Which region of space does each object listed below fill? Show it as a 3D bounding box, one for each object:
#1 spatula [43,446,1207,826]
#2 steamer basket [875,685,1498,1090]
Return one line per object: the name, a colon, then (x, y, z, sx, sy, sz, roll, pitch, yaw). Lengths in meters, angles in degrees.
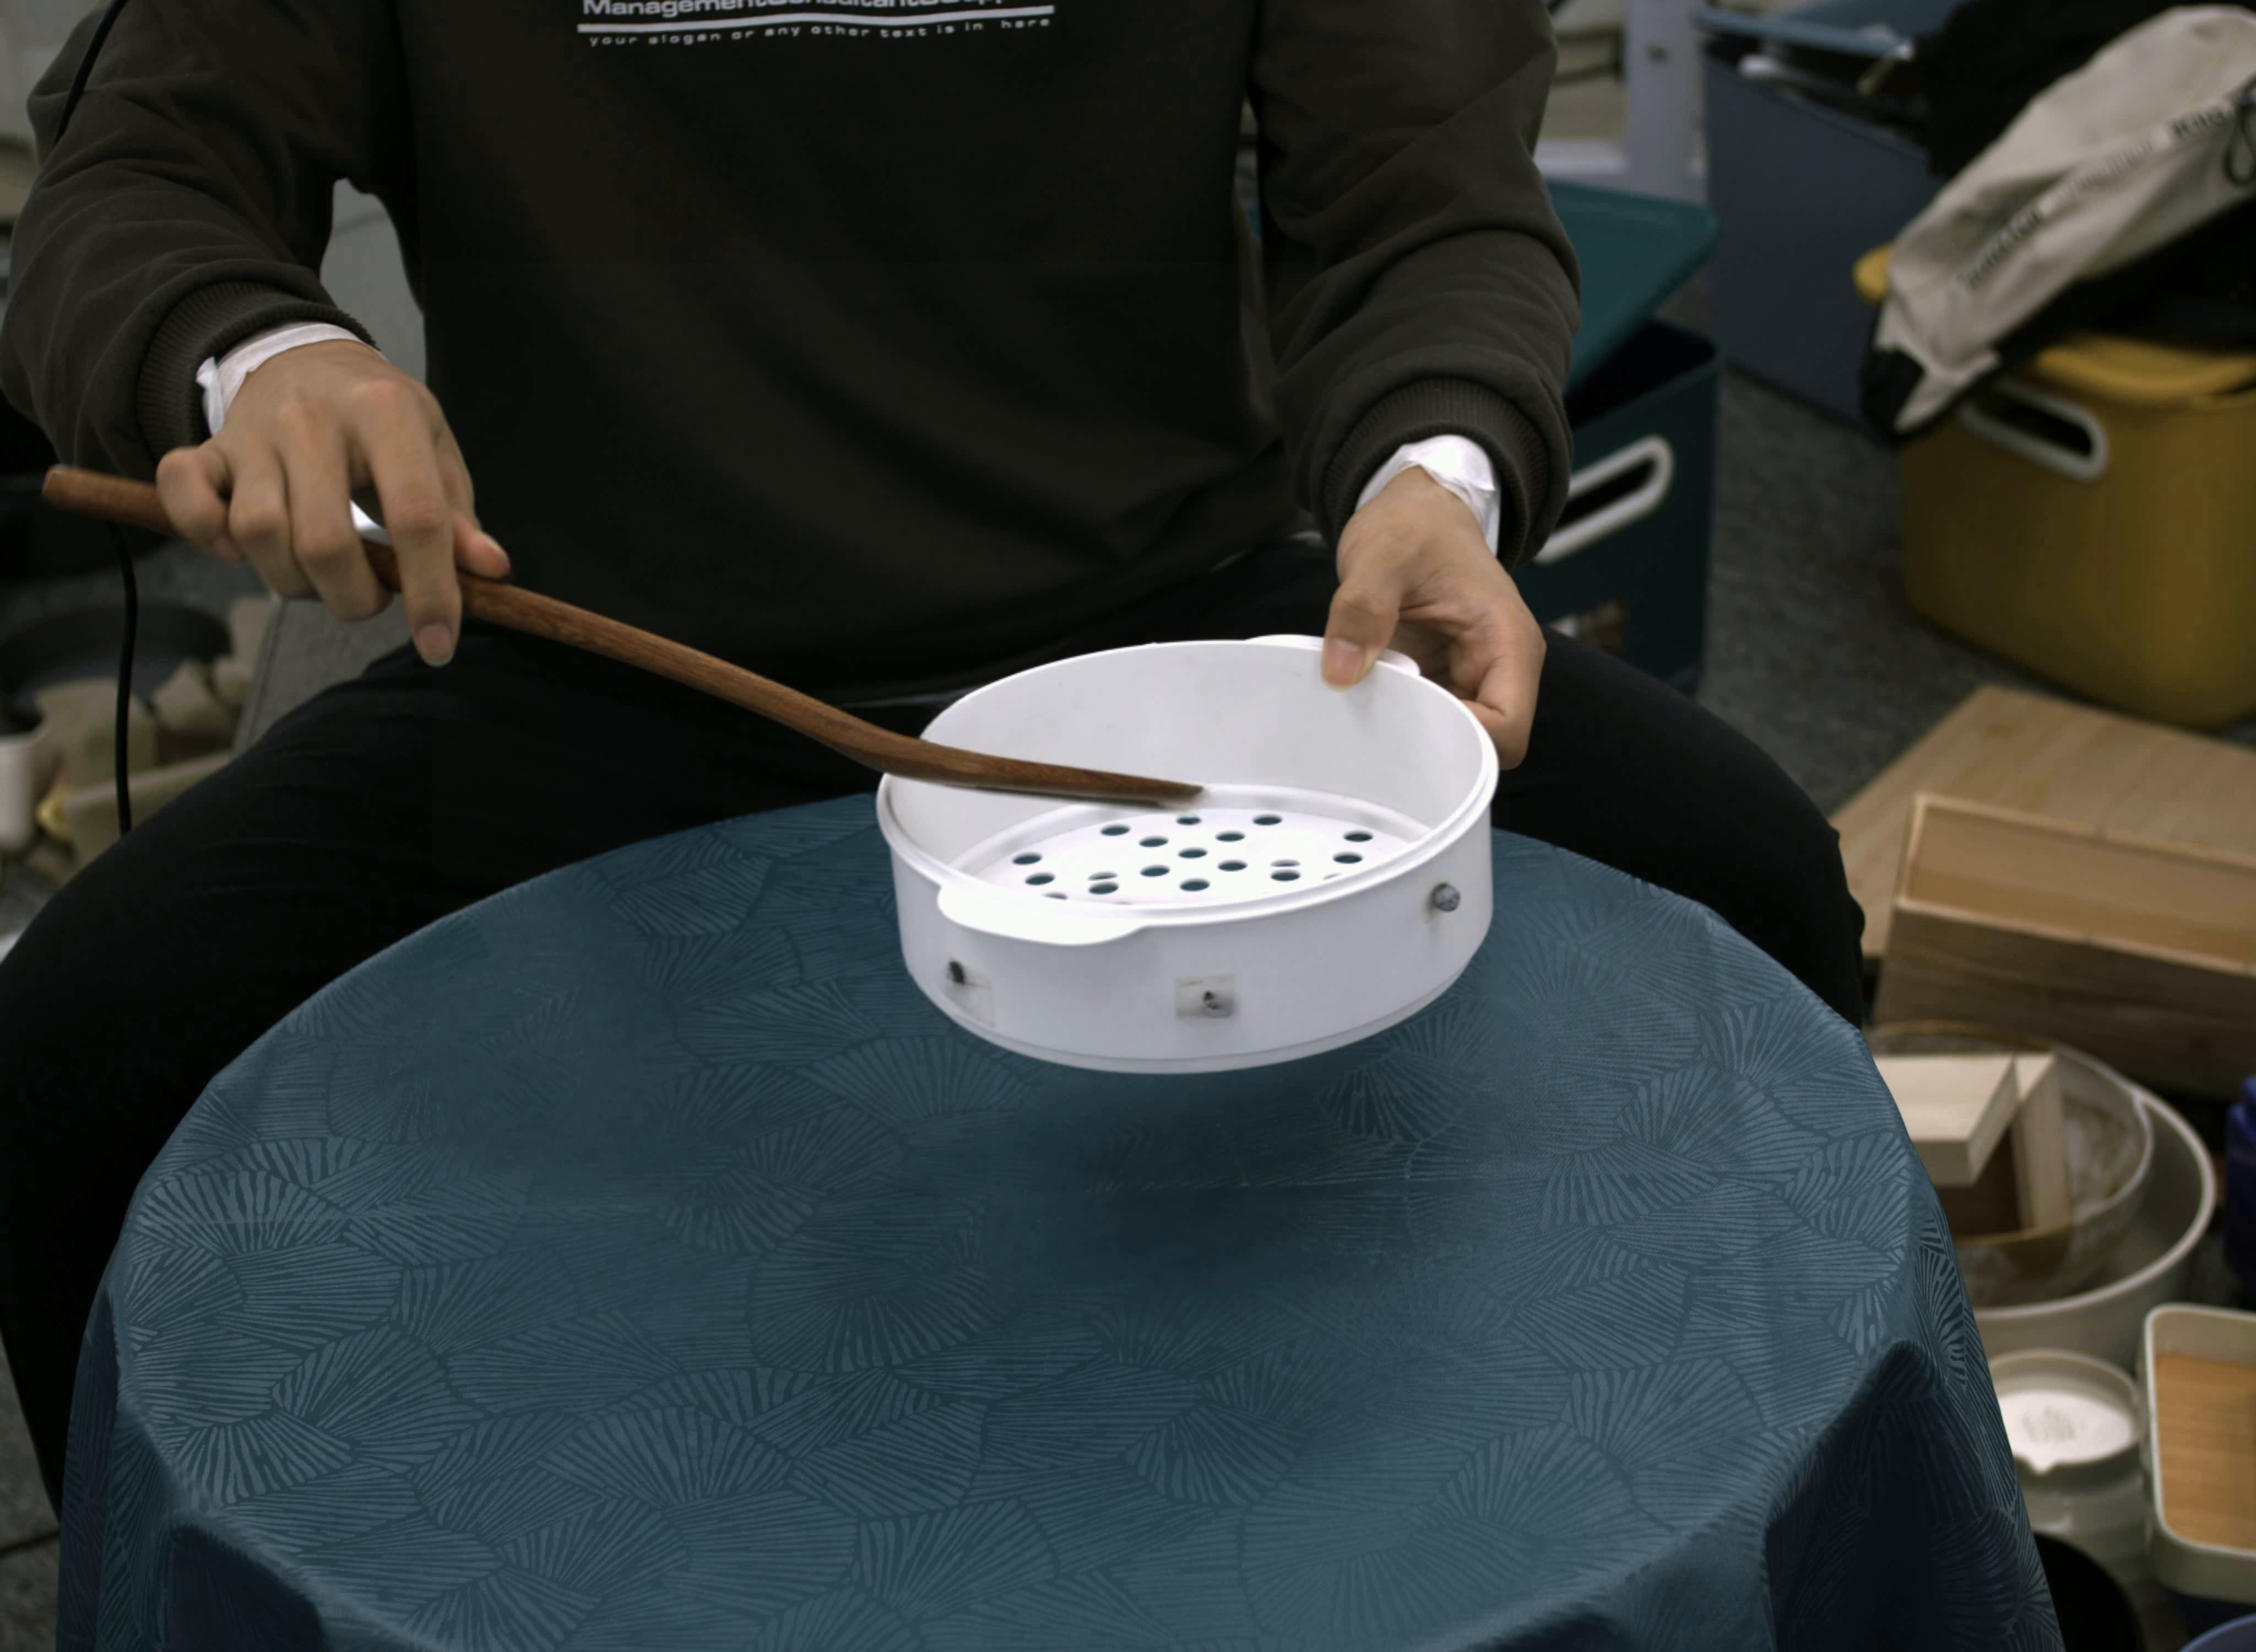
spatula: (-0.160, -0.056, 1.783, 0.384, 0.024, 0.085, 18, -7, 0)
steamer basket: (0.020, 0.020, 1.819, 0.200, 0.068, 0.234, 10, 25, 27)
